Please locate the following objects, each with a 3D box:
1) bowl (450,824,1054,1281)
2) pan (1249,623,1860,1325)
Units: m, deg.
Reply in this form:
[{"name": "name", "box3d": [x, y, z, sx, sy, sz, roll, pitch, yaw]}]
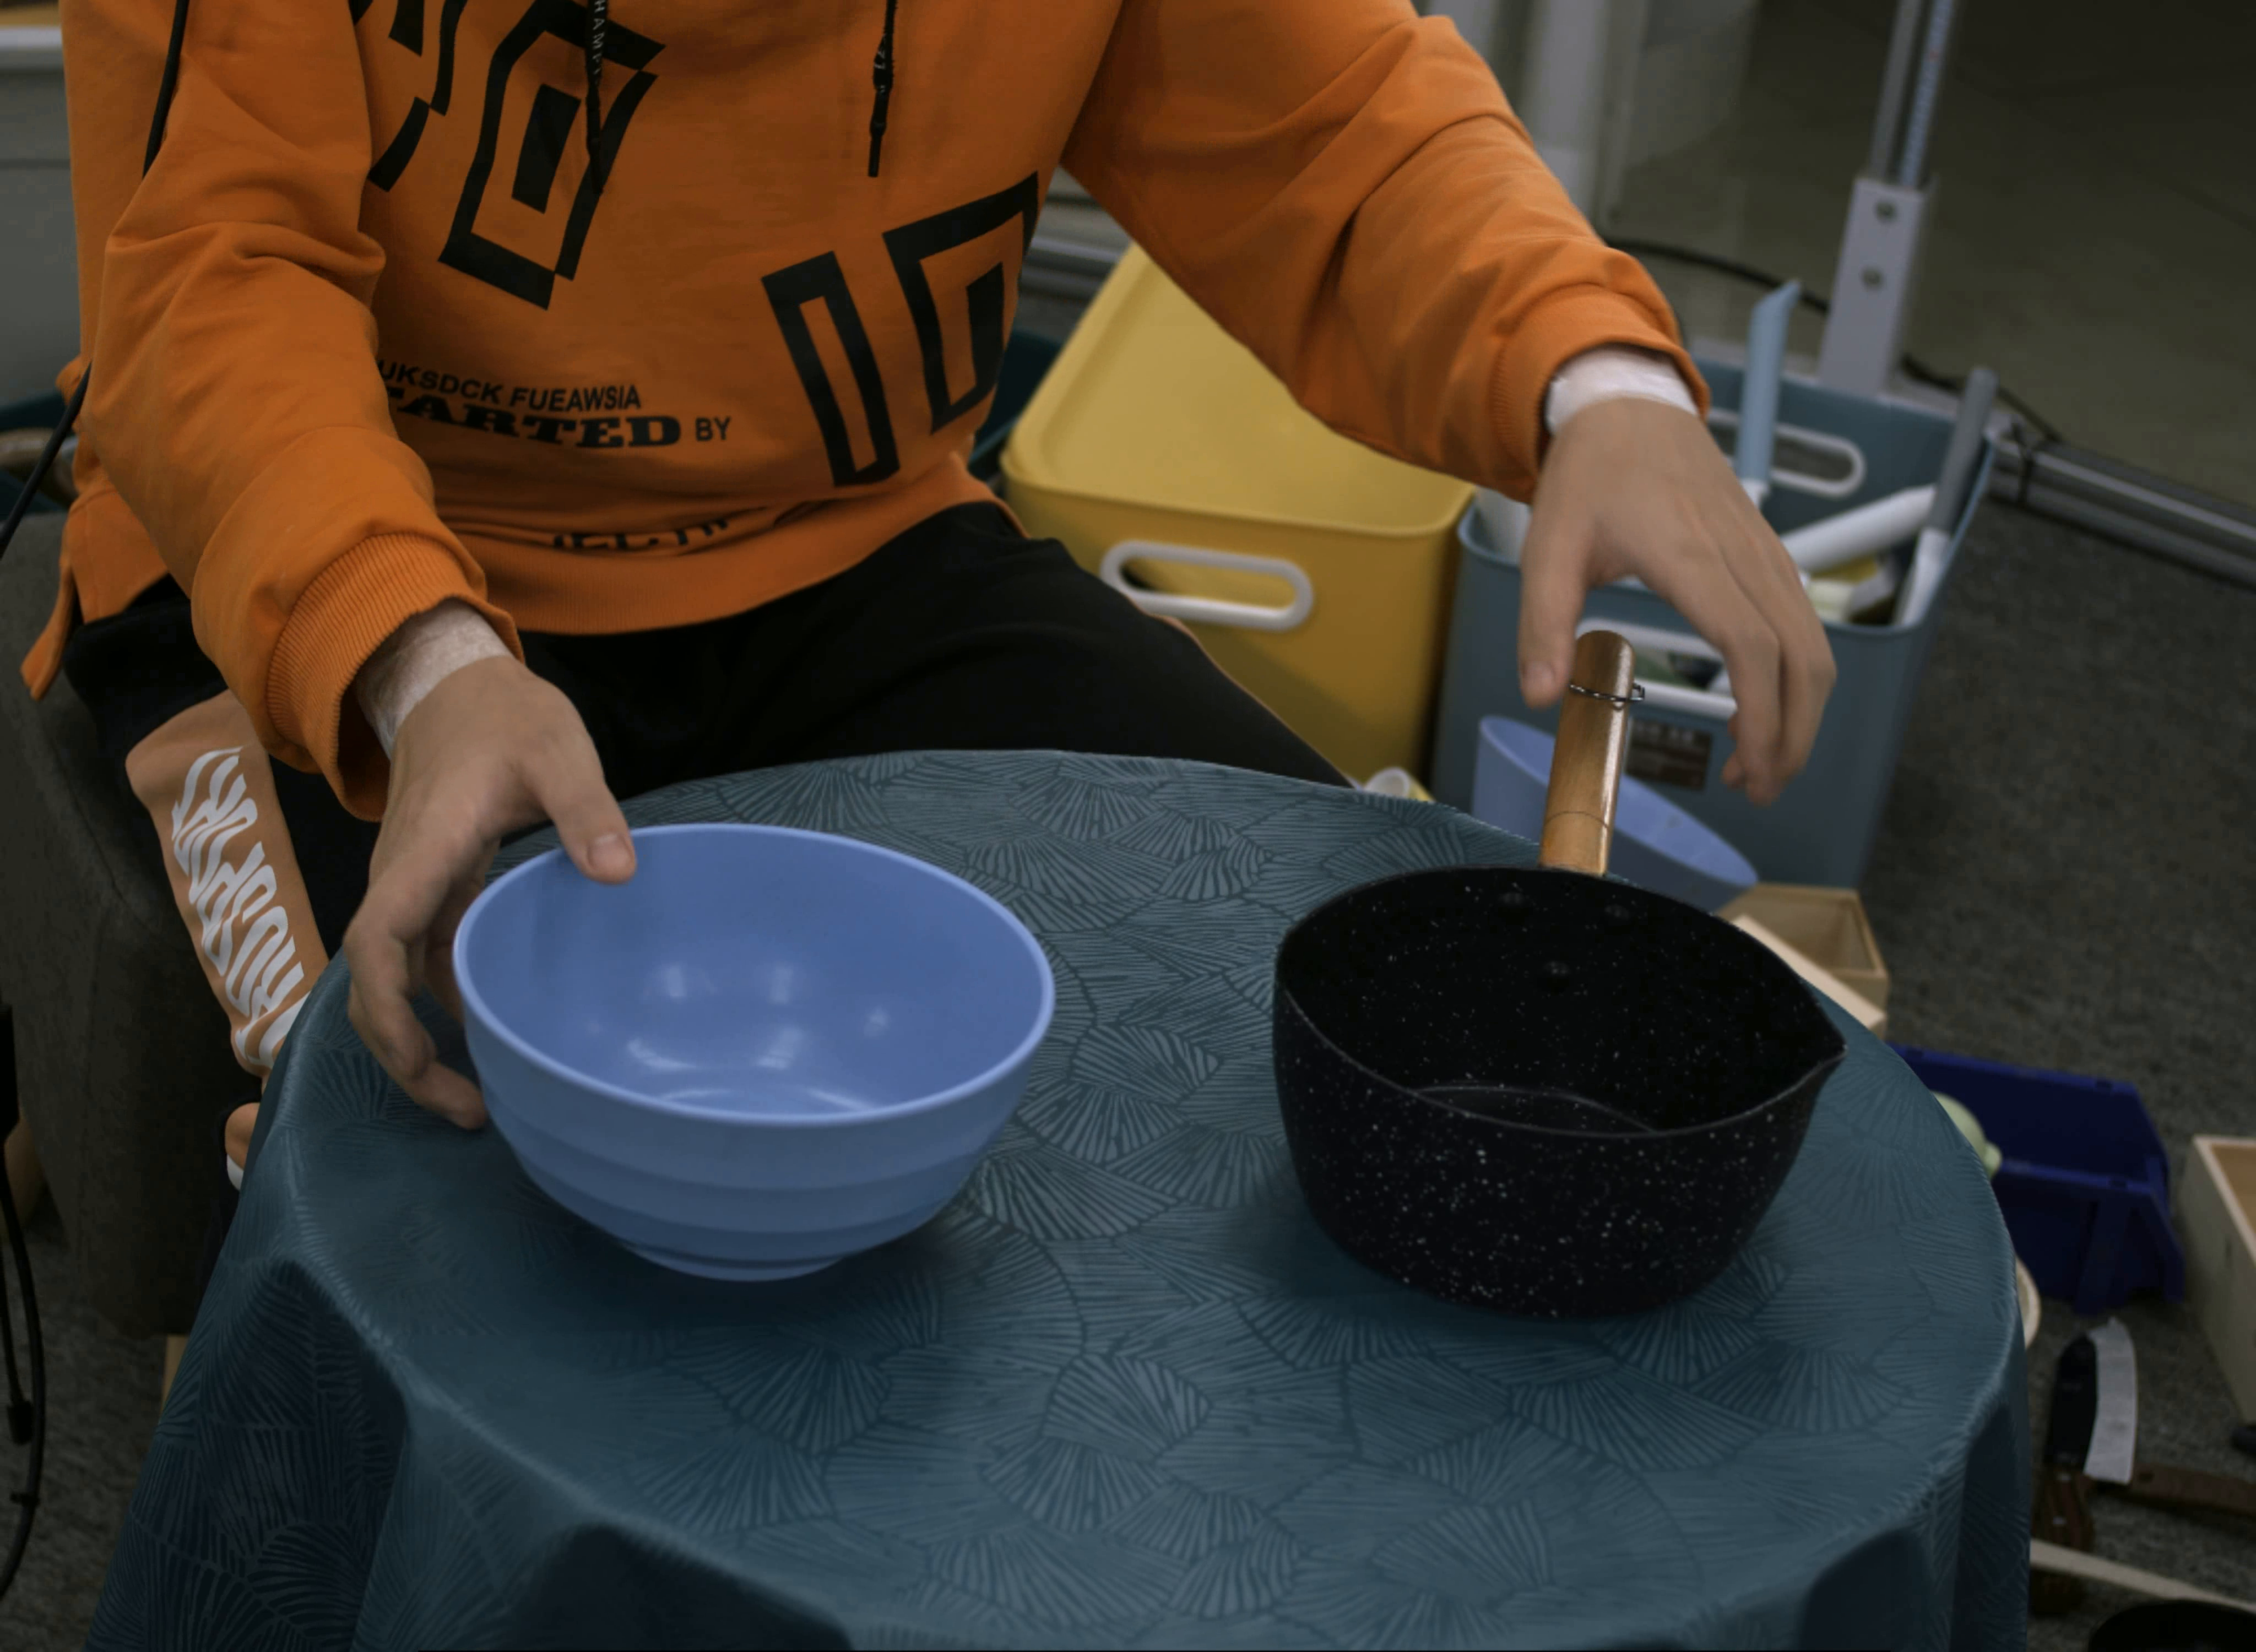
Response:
[{"name": "bowl", "box3d": [-0.126, 0.085, 1.745, 0.196, 0.095, 0.198, 5, 27, -3]}, {"name": "pan", "box3d": [0.149, 0.047, 1.867, 0.207, 0.108, 0.344, 8, 28, 4]}]
